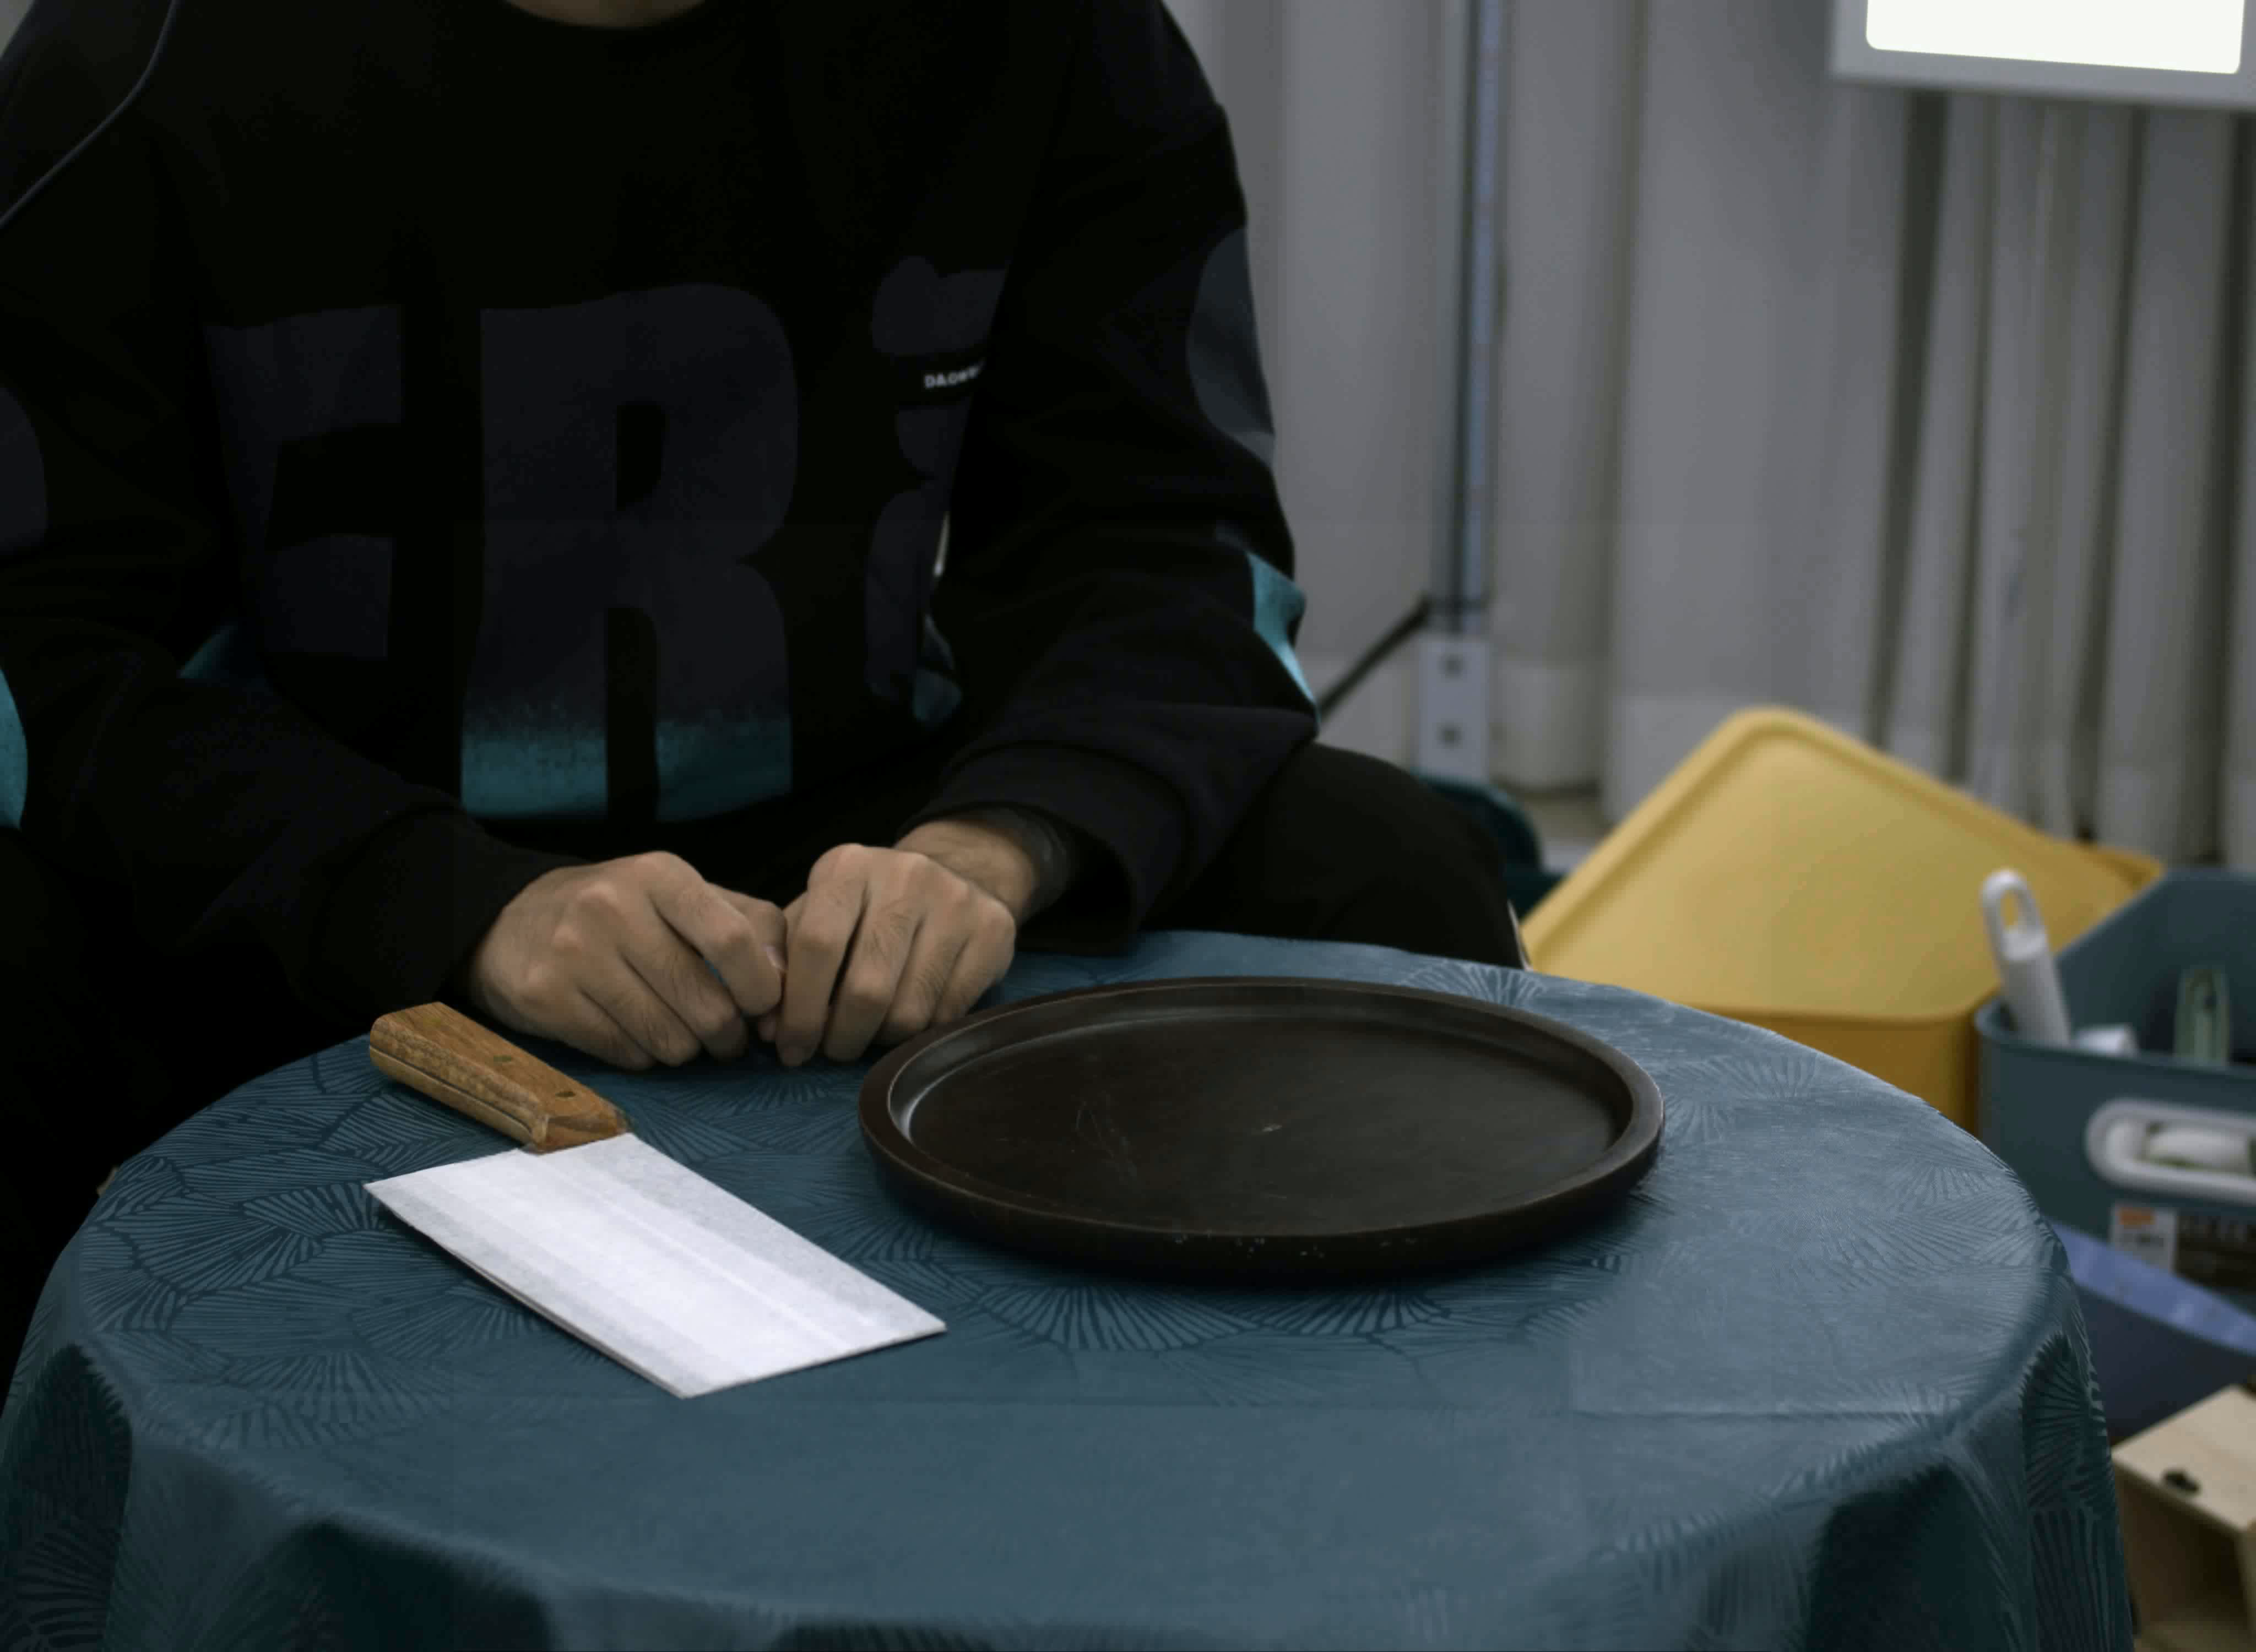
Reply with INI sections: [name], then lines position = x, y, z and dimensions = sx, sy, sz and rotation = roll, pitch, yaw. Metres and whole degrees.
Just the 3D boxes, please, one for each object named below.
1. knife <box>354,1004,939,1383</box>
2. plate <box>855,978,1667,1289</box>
[knife]
position = -0.174, 0.111, 1.594
dimensions = 0.093, 0.021, 0.301
rotation = -12, 22, -34
[plate]
position = 0.041, 0.093, 1.646
dimensions = 0.254, 0.029, 0.253
rotation = 0, 17, 1
